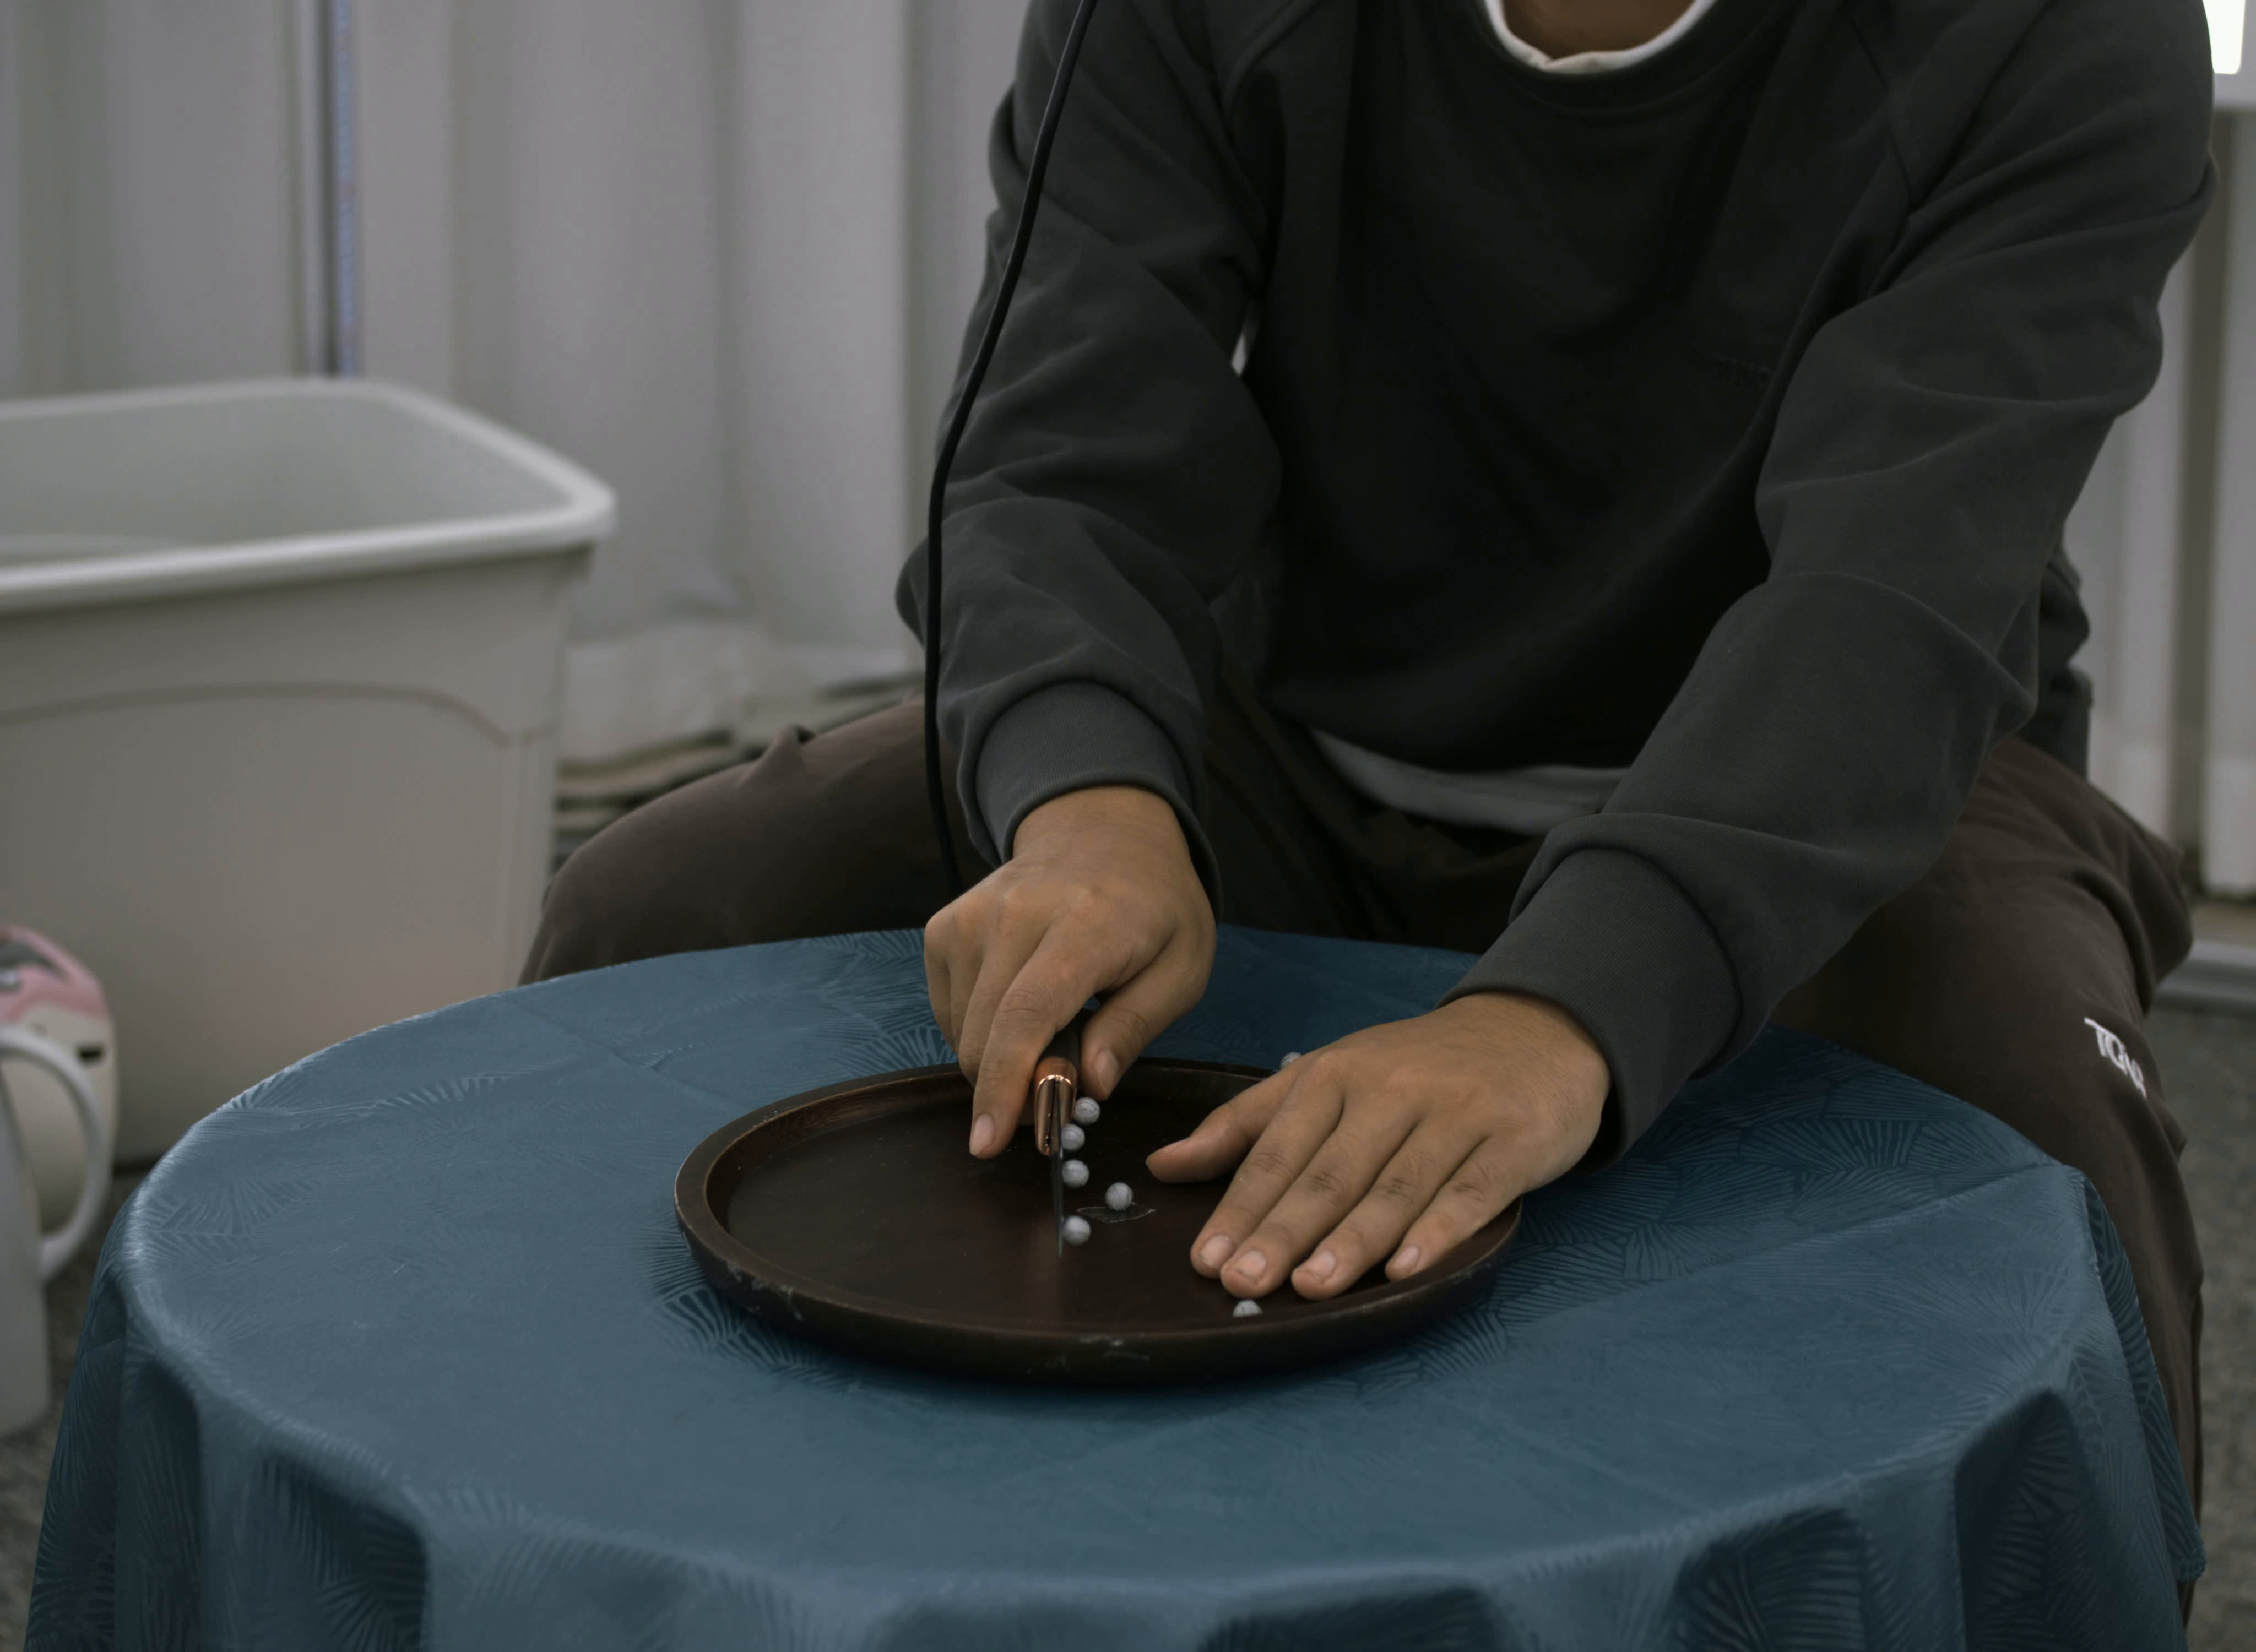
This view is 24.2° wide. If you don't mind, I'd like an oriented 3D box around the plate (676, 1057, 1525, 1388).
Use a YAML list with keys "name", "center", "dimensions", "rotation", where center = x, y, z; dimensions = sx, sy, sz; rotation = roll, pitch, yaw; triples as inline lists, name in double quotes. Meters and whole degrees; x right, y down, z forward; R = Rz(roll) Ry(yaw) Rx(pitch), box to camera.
- name: "plate"
  center: [-0.008, 0.116, 1.570]
  dimensions: [0.254, 0.029, 0.253]
  rotation: [0, 14, 0]

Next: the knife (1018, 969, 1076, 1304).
- name: "knife"
  center: [-0.023, 0.090, 1.581]
  dimensions: [0.017, 0.026, 0.224]
  rotation: [7, 19, -5]
